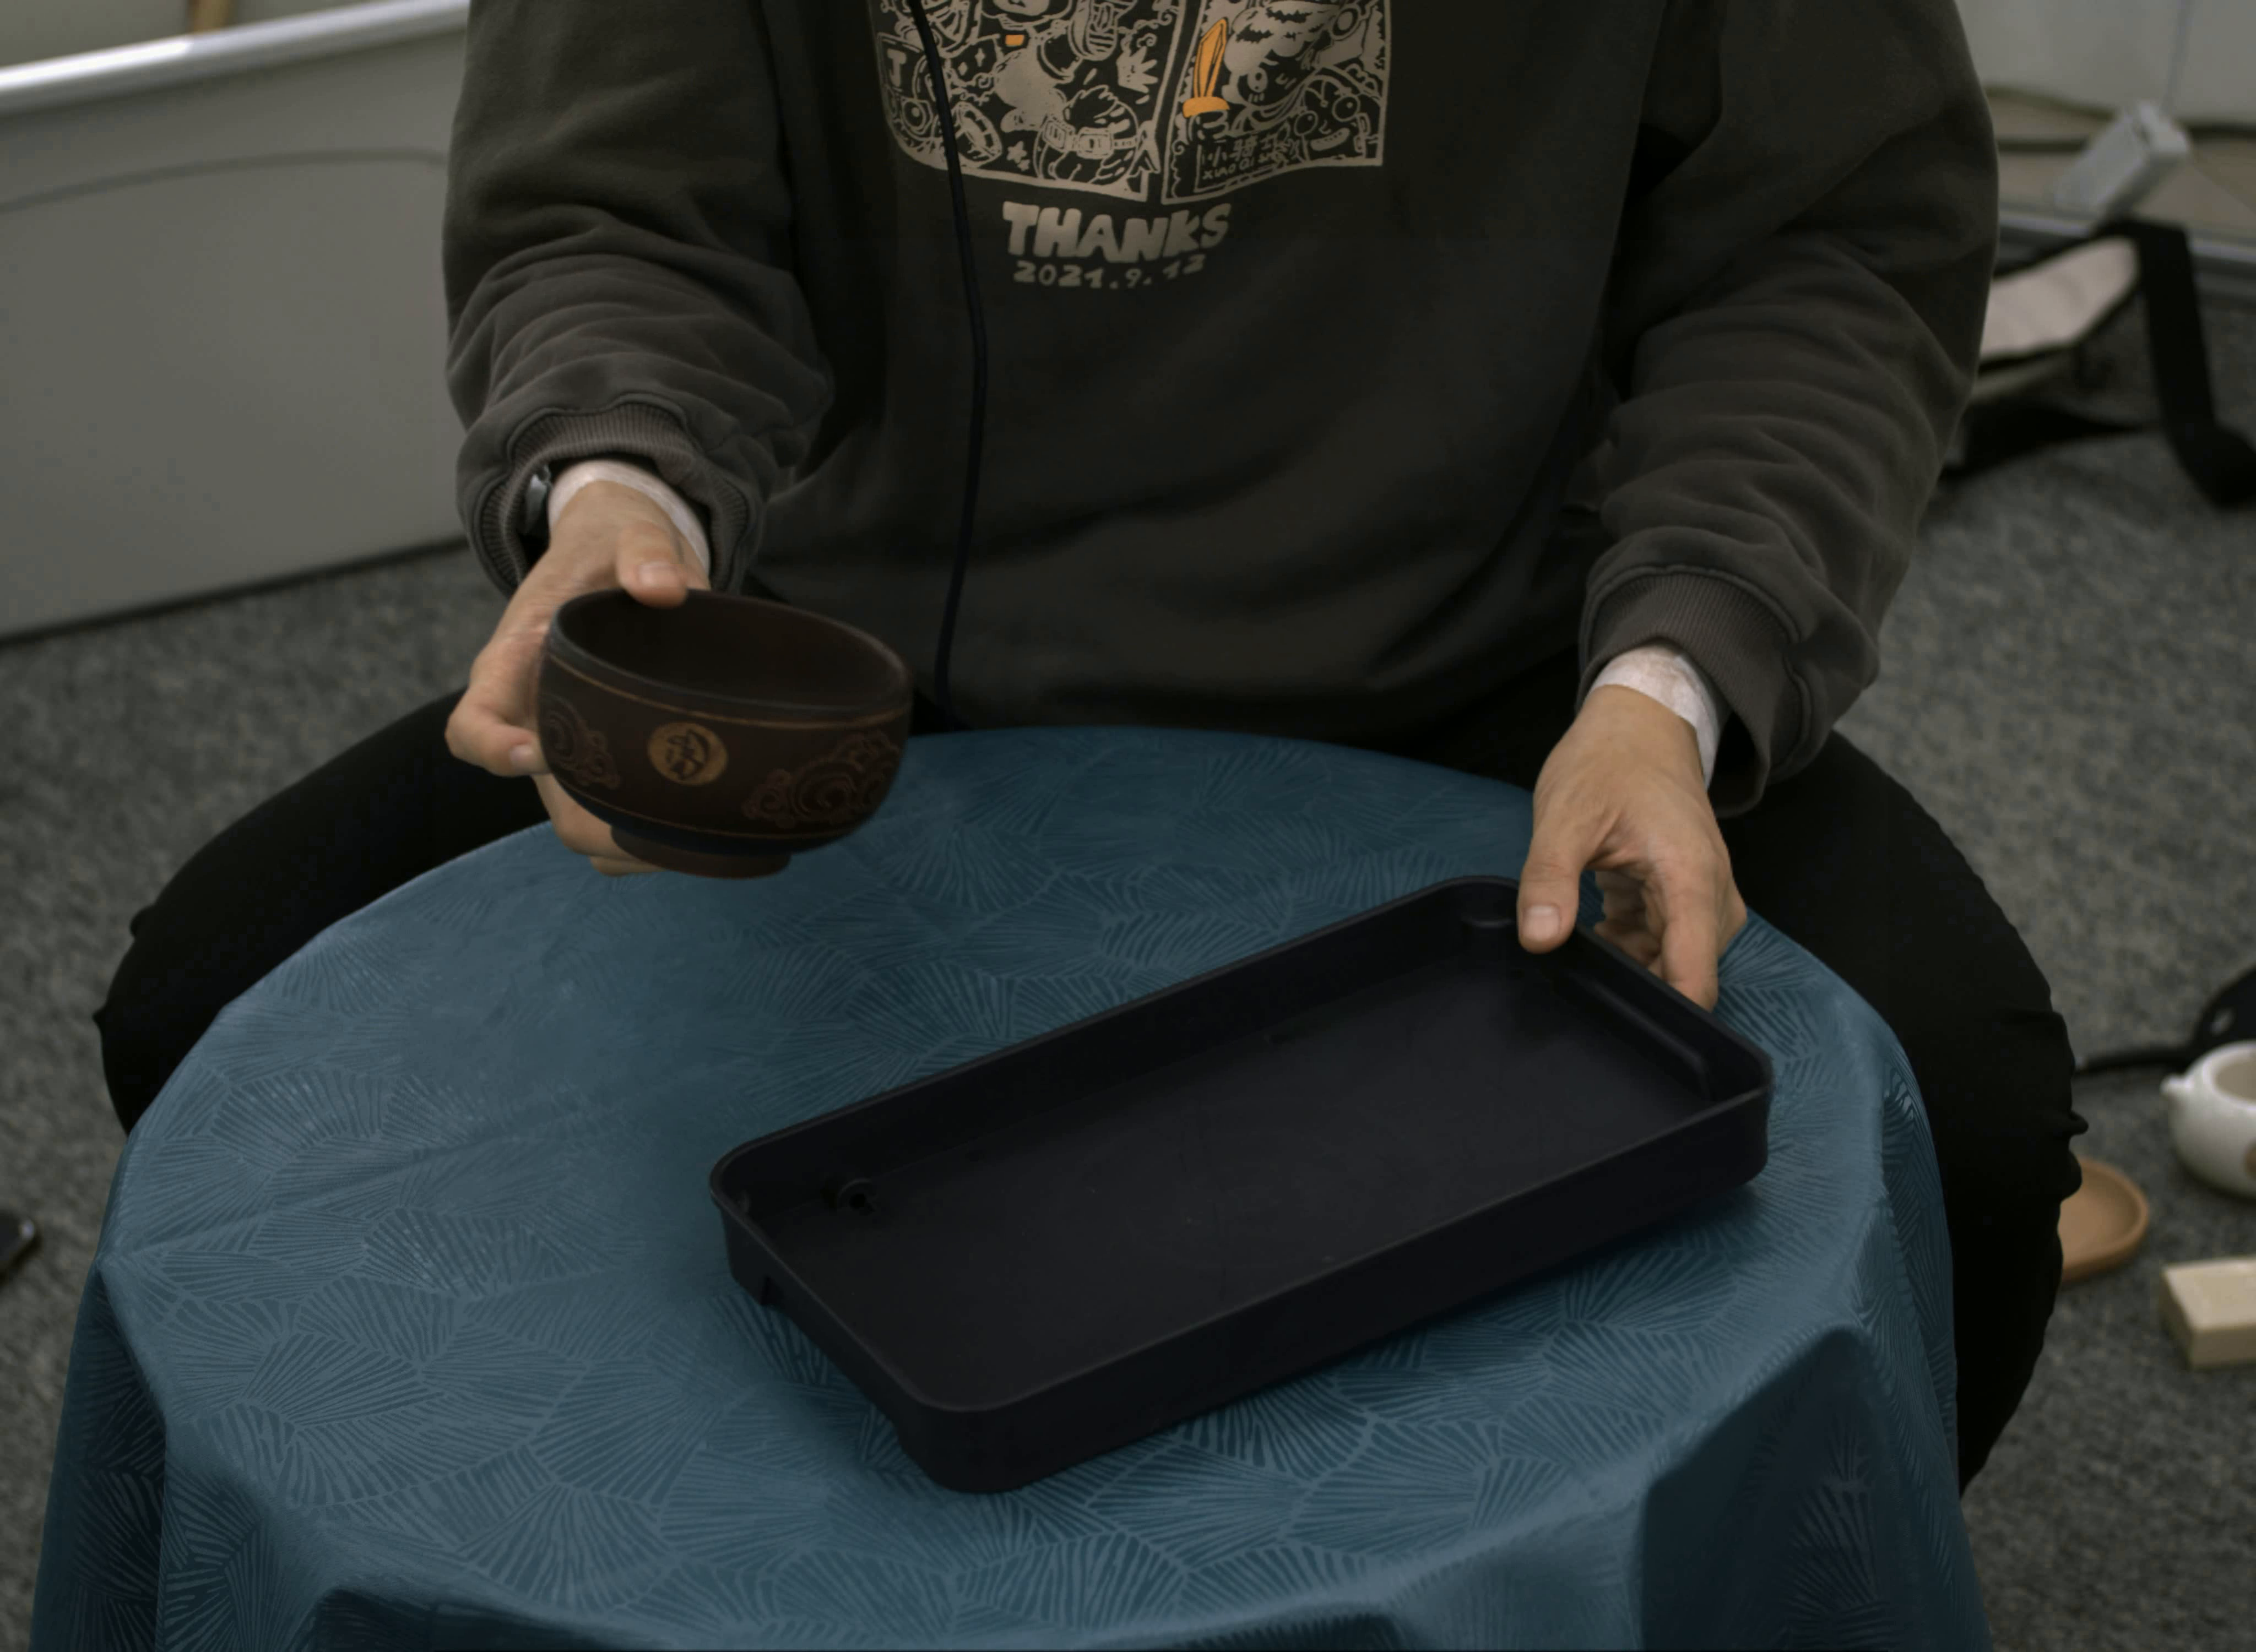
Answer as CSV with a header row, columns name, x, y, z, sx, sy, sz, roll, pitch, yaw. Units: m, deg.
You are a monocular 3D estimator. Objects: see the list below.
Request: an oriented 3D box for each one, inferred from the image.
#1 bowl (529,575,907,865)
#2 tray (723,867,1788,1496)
name,x,y,z,sx,sy,sz,roll,pitch,yaw
bowl,-0.131,-0.029,1.771,0.117,0.069,0.119,9,16,-2
tray,0.043,0.110,1.828,0.320,0.036,0.185,-21,32,-26
